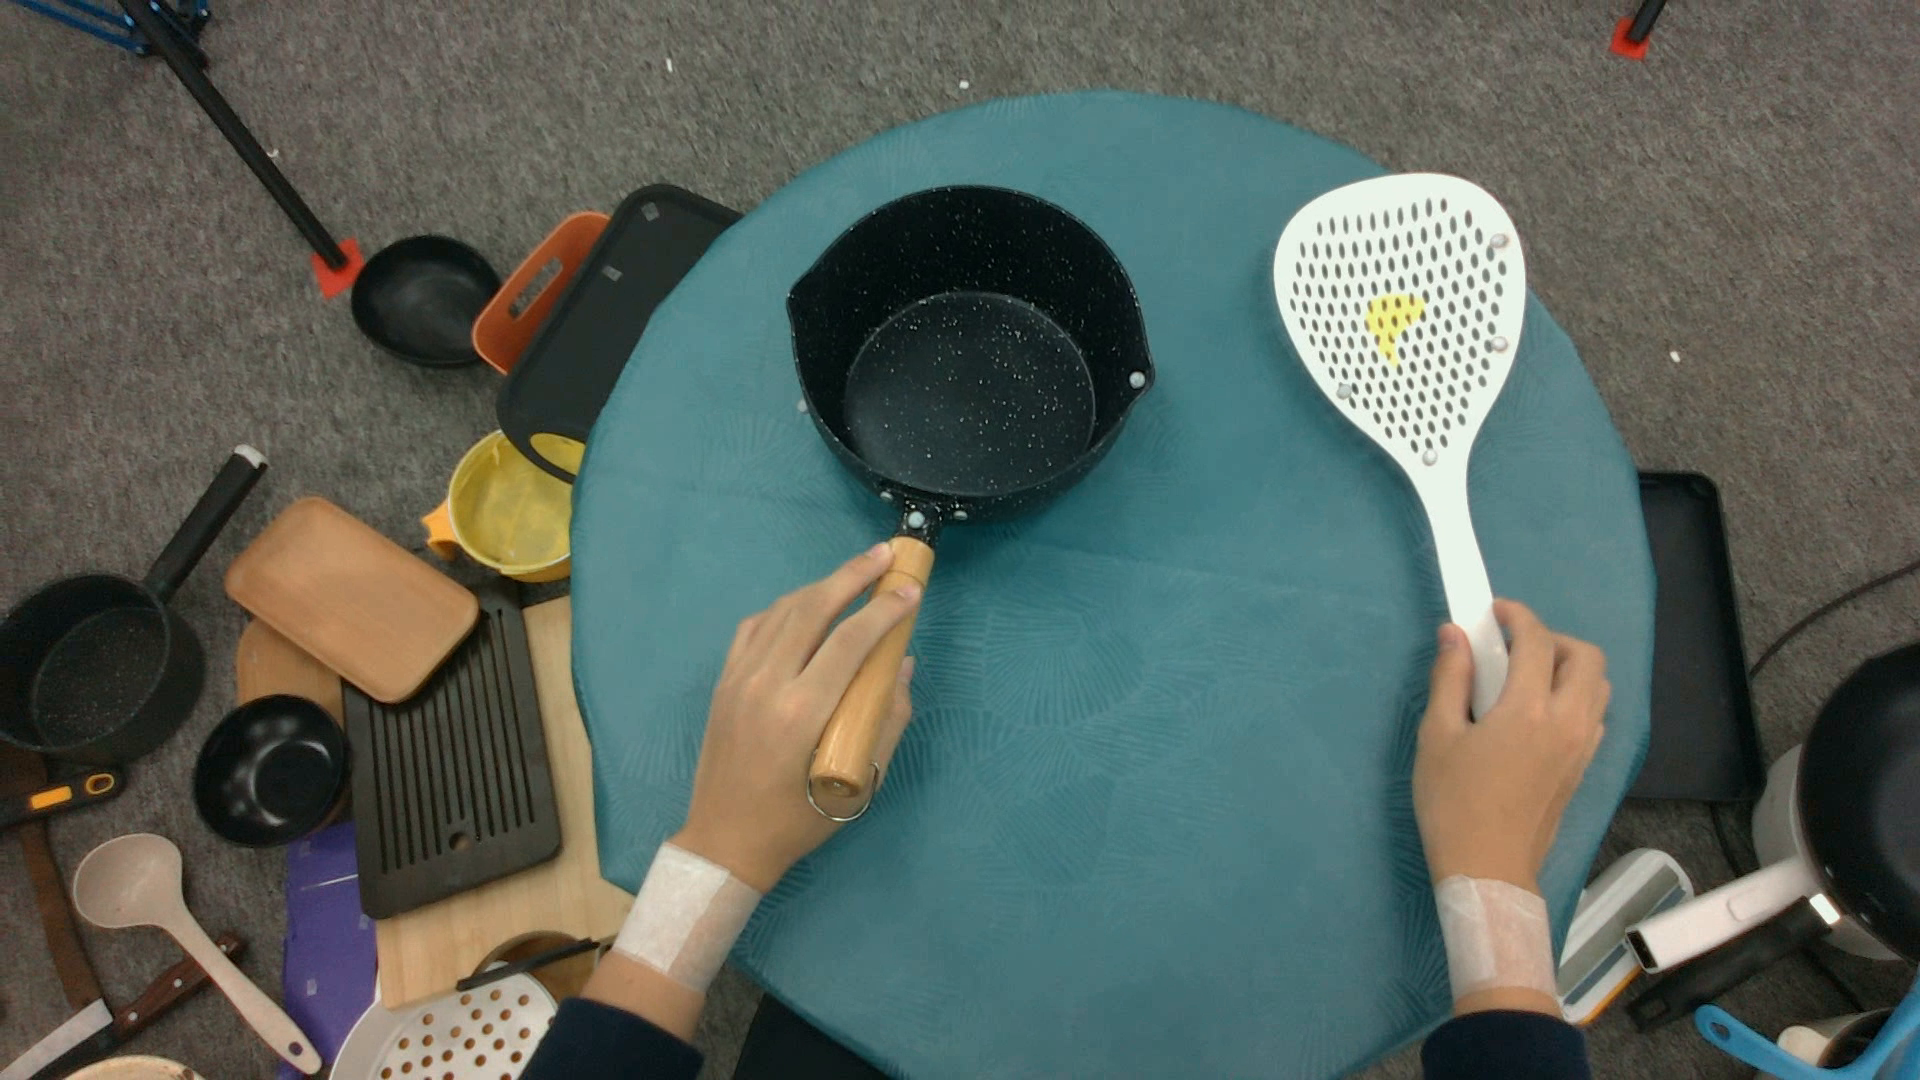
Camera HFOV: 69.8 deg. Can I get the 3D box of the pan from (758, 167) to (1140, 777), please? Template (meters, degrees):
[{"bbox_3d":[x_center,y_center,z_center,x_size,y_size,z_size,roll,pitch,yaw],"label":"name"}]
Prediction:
[{"bbox_3d":[-0.023,-0.034,0.719,0.207,0.108,0.344,12,69,3],"label":"pan"}]

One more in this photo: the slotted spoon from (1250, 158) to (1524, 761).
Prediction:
[{"bbox_3d":[0.252,-0.052,0.760,0.137,0.050,0.349,-10,68,6],"label":"slotted spoon"}]
